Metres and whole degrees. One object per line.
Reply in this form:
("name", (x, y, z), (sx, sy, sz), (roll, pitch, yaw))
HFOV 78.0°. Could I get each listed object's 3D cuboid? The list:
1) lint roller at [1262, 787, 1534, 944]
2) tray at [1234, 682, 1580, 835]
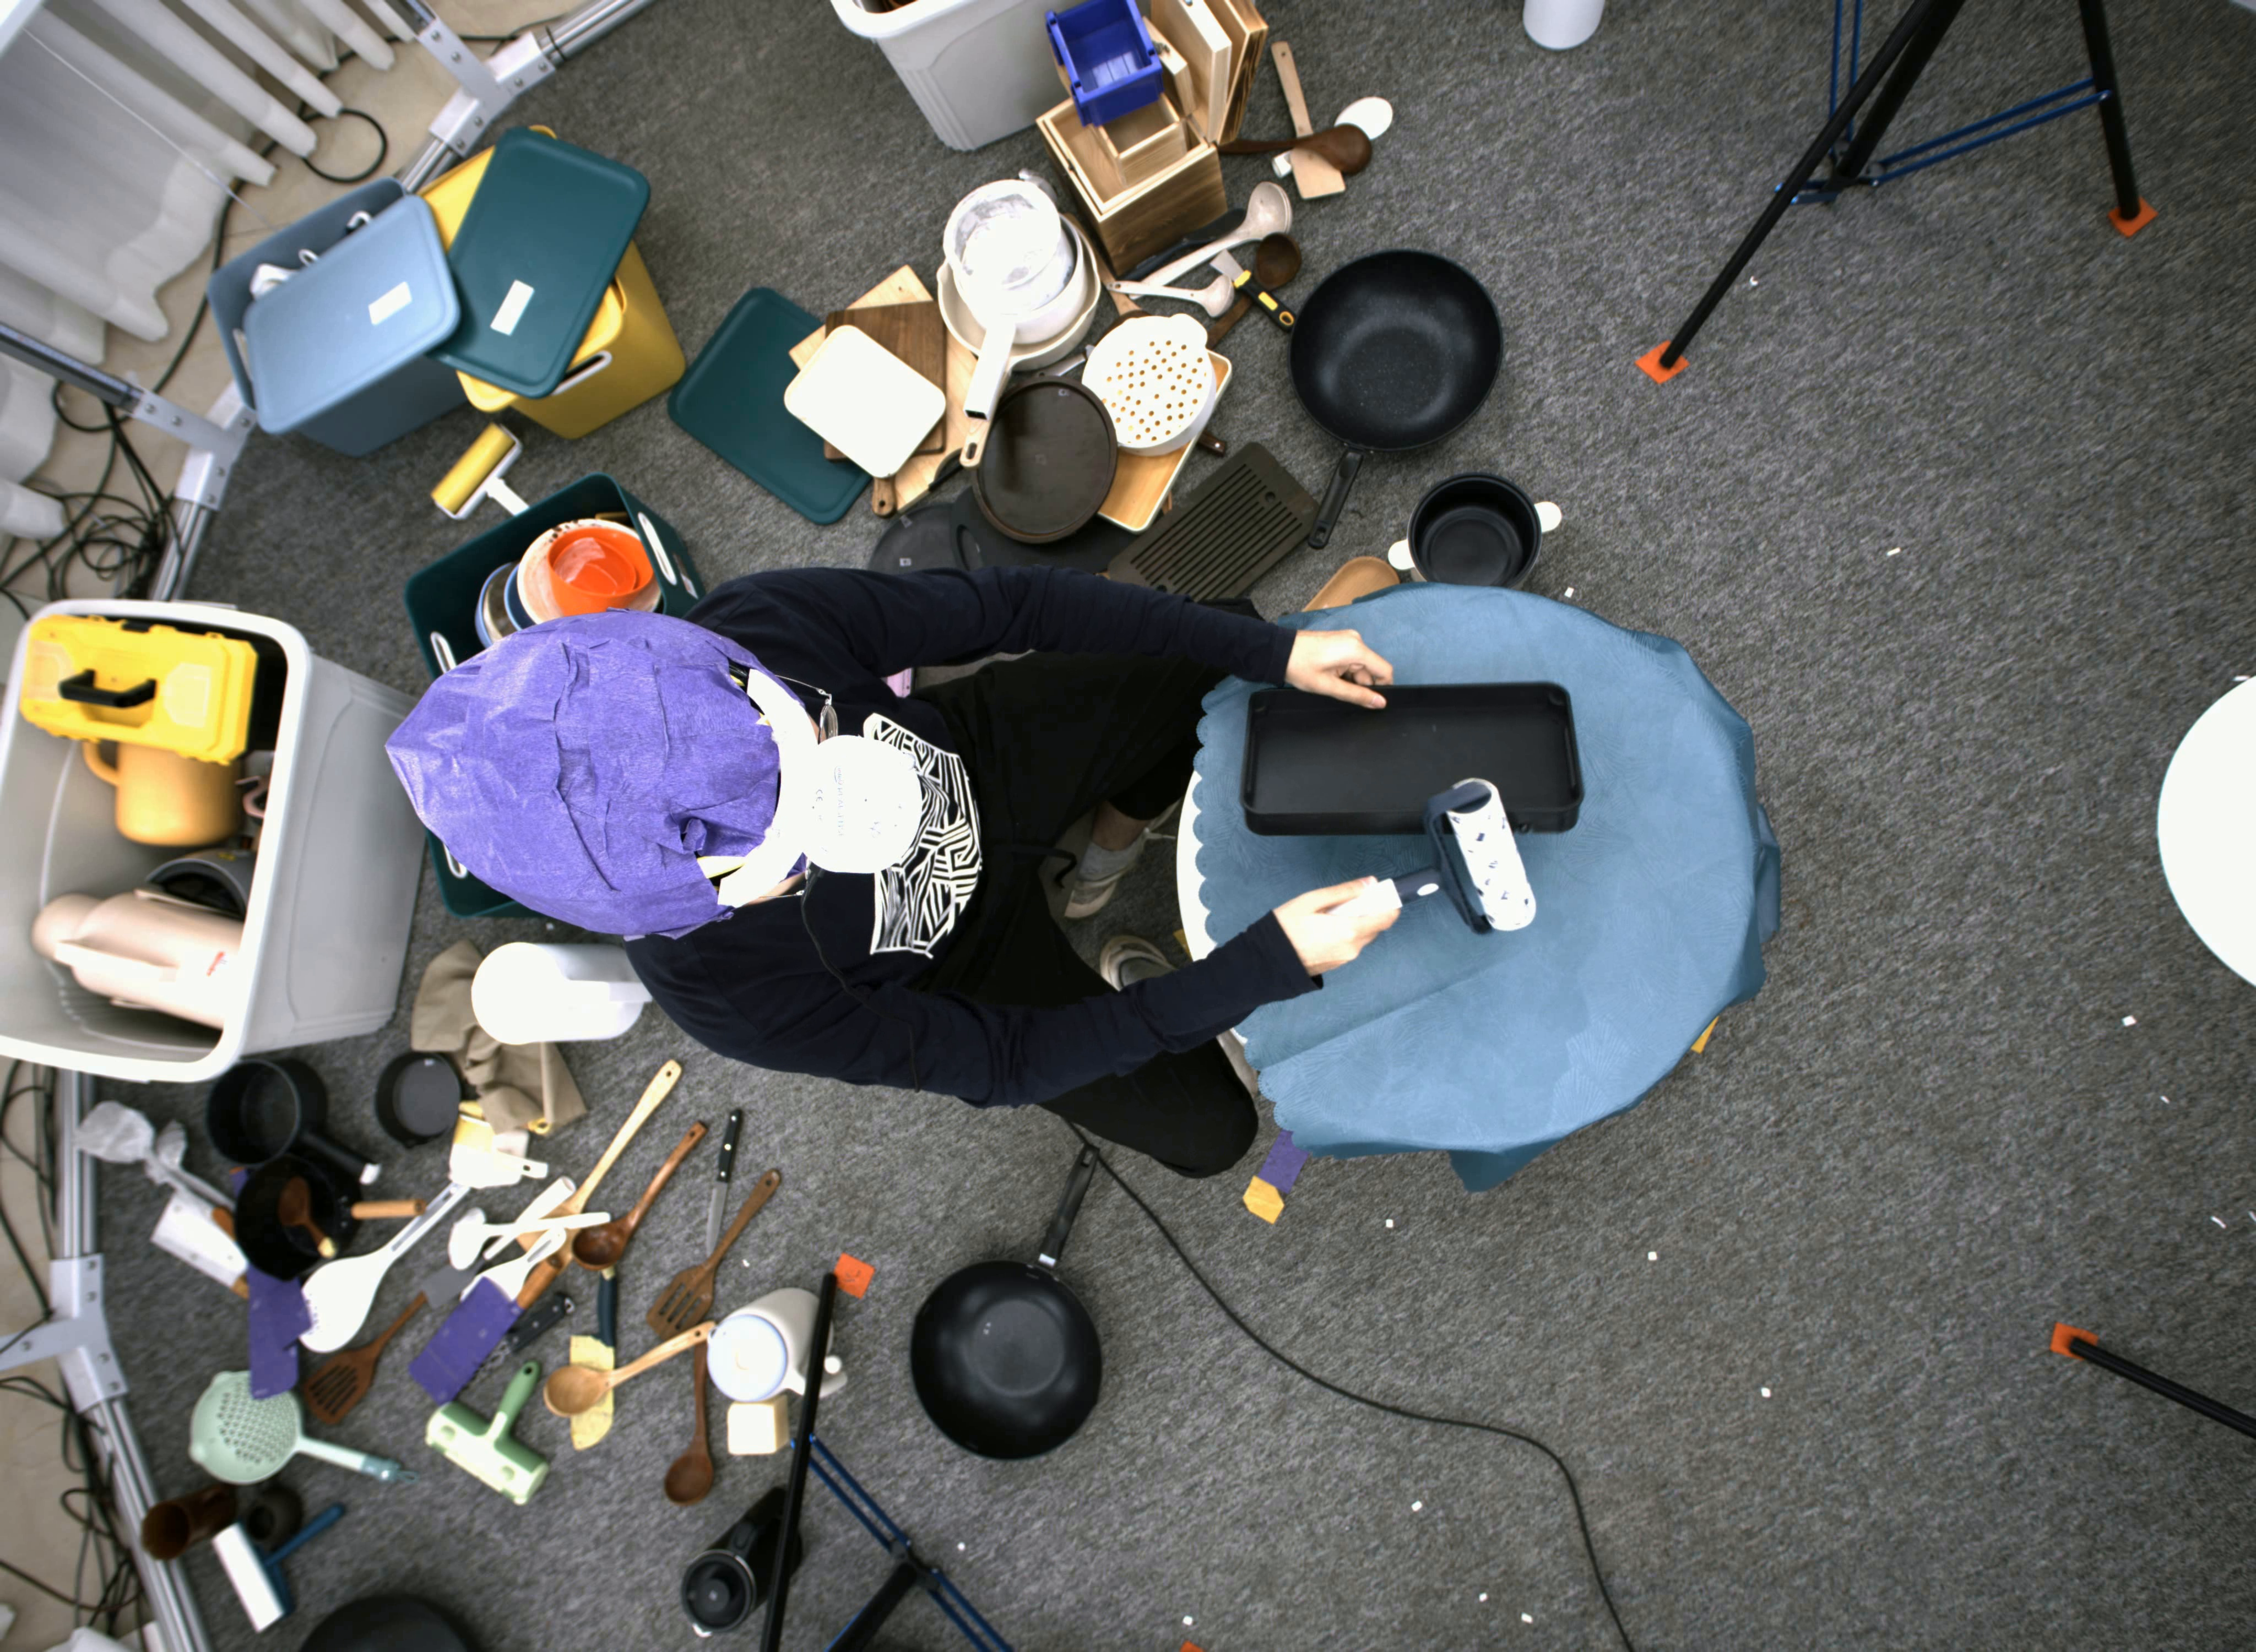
("lint roller", (0.244, 0.067, 1.289), (0.249, 0.179, 0.049), (-22, 42, 14))
("tray", (0.269, -0.068, 1.338), (0.319, 0.038, 0.179), (-1, 46, 13))
